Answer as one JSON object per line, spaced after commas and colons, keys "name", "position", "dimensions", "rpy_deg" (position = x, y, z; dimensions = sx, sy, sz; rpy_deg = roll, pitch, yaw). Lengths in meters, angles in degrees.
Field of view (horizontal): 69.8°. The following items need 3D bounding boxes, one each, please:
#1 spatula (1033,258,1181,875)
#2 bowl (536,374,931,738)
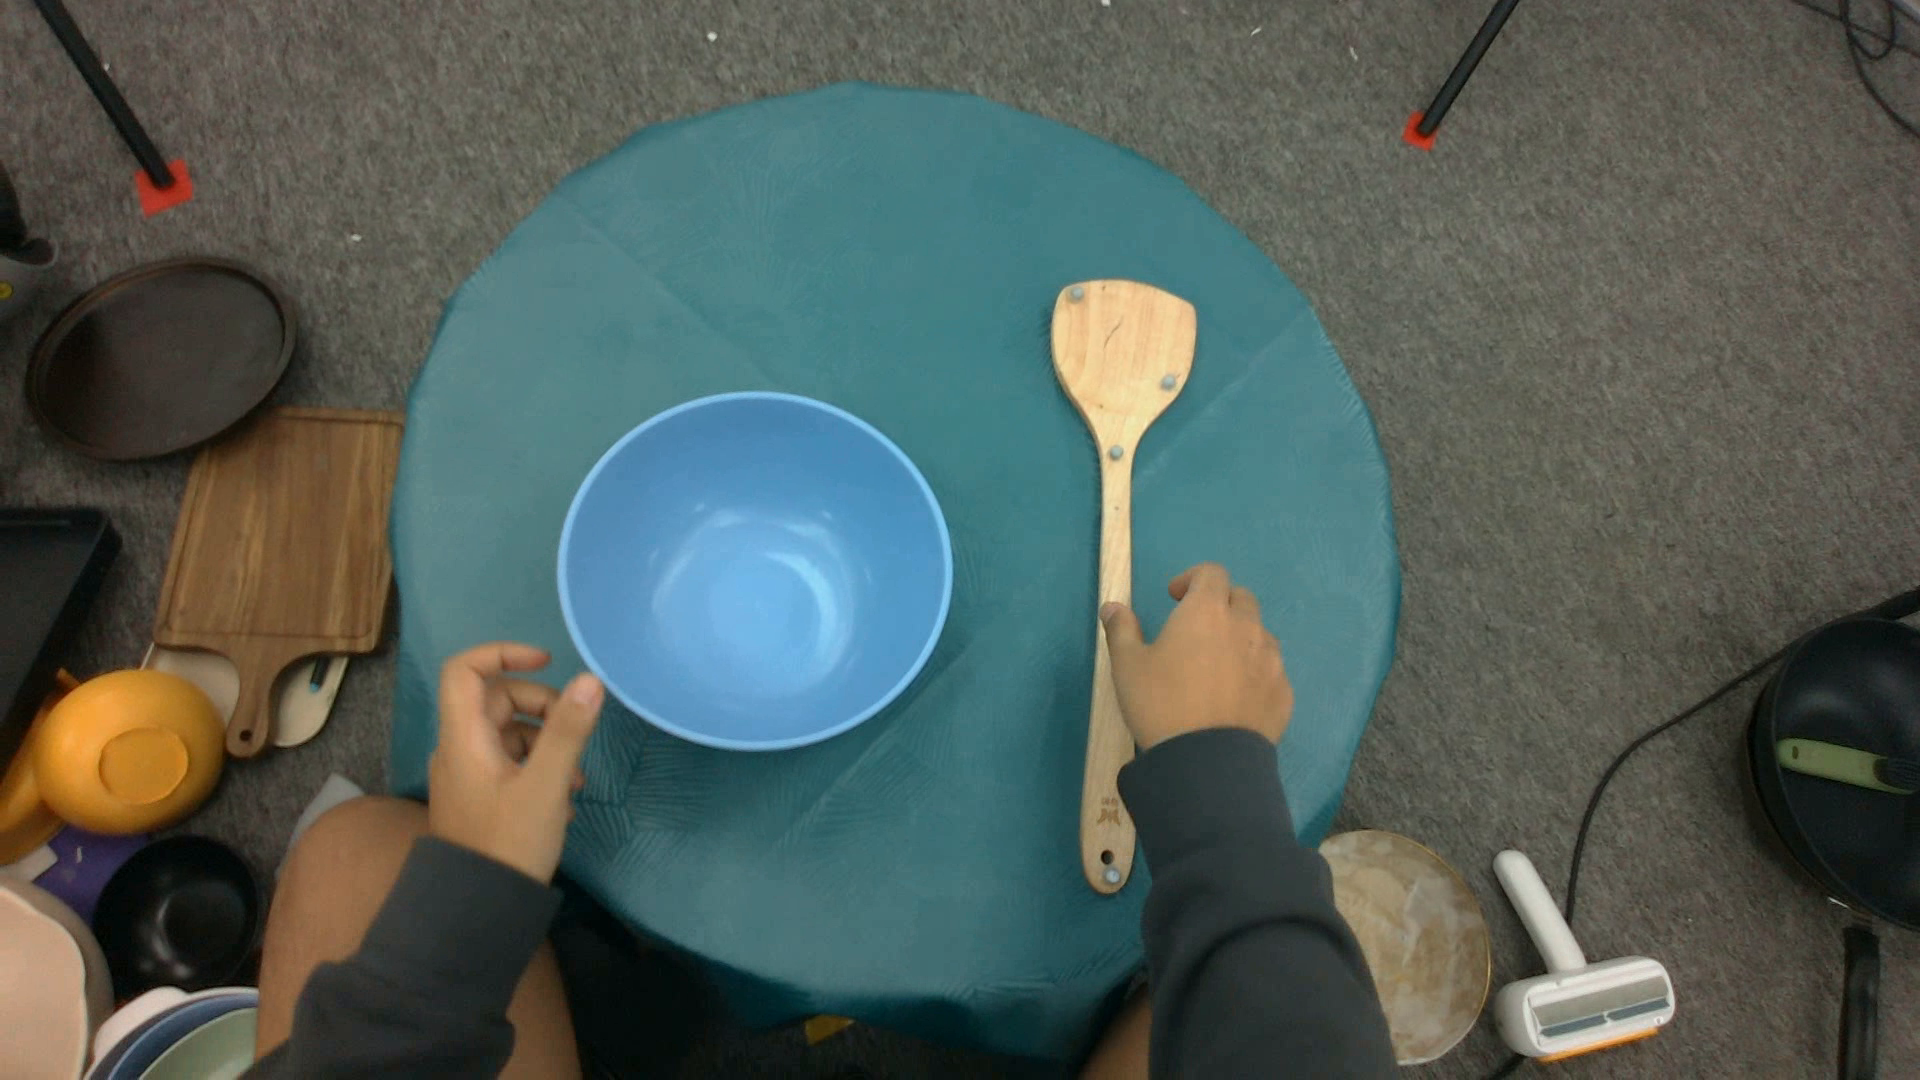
{"name": "spatula", "position": [0.085, 0.000, 0.818], "dimensions": [0.096, 0.018, 0.392], "rpy_deg": [6, 66, -6]}
{"name": "bowl", "position": [-0.120, 0.020, 0.734], "dimensions": [0.196, 0.095, 0.197], "rpy_deg": [5, 66, -11]}
